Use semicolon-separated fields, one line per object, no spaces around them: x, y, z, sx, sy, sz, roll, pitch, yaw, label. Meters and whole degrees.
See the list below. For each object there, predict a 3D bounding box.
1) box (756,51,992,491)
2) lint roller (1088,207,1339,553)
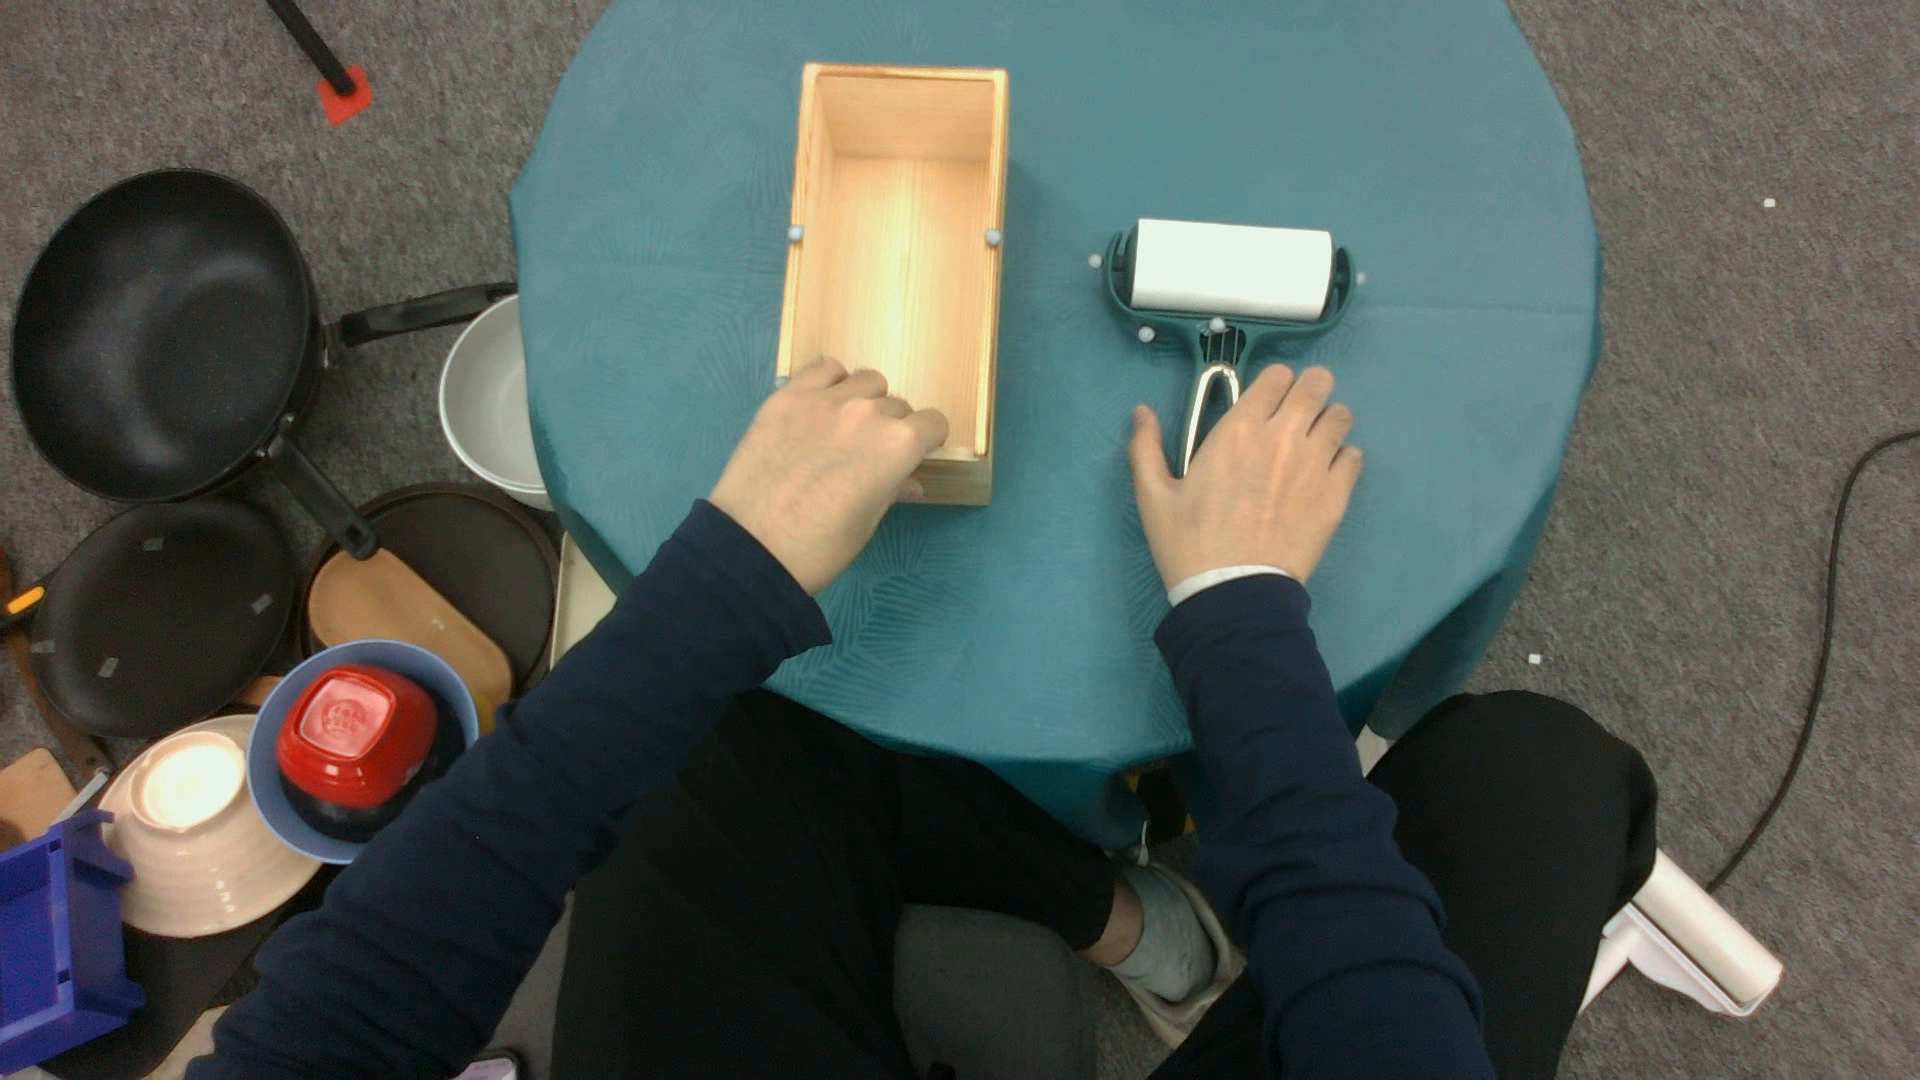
-0.041;-0.139;0.720;0.107;0.080;0.212;2;75;1;box
0.128;-0.085;0.724;0.134;0.048;0.180;5;79;2;lint roller
